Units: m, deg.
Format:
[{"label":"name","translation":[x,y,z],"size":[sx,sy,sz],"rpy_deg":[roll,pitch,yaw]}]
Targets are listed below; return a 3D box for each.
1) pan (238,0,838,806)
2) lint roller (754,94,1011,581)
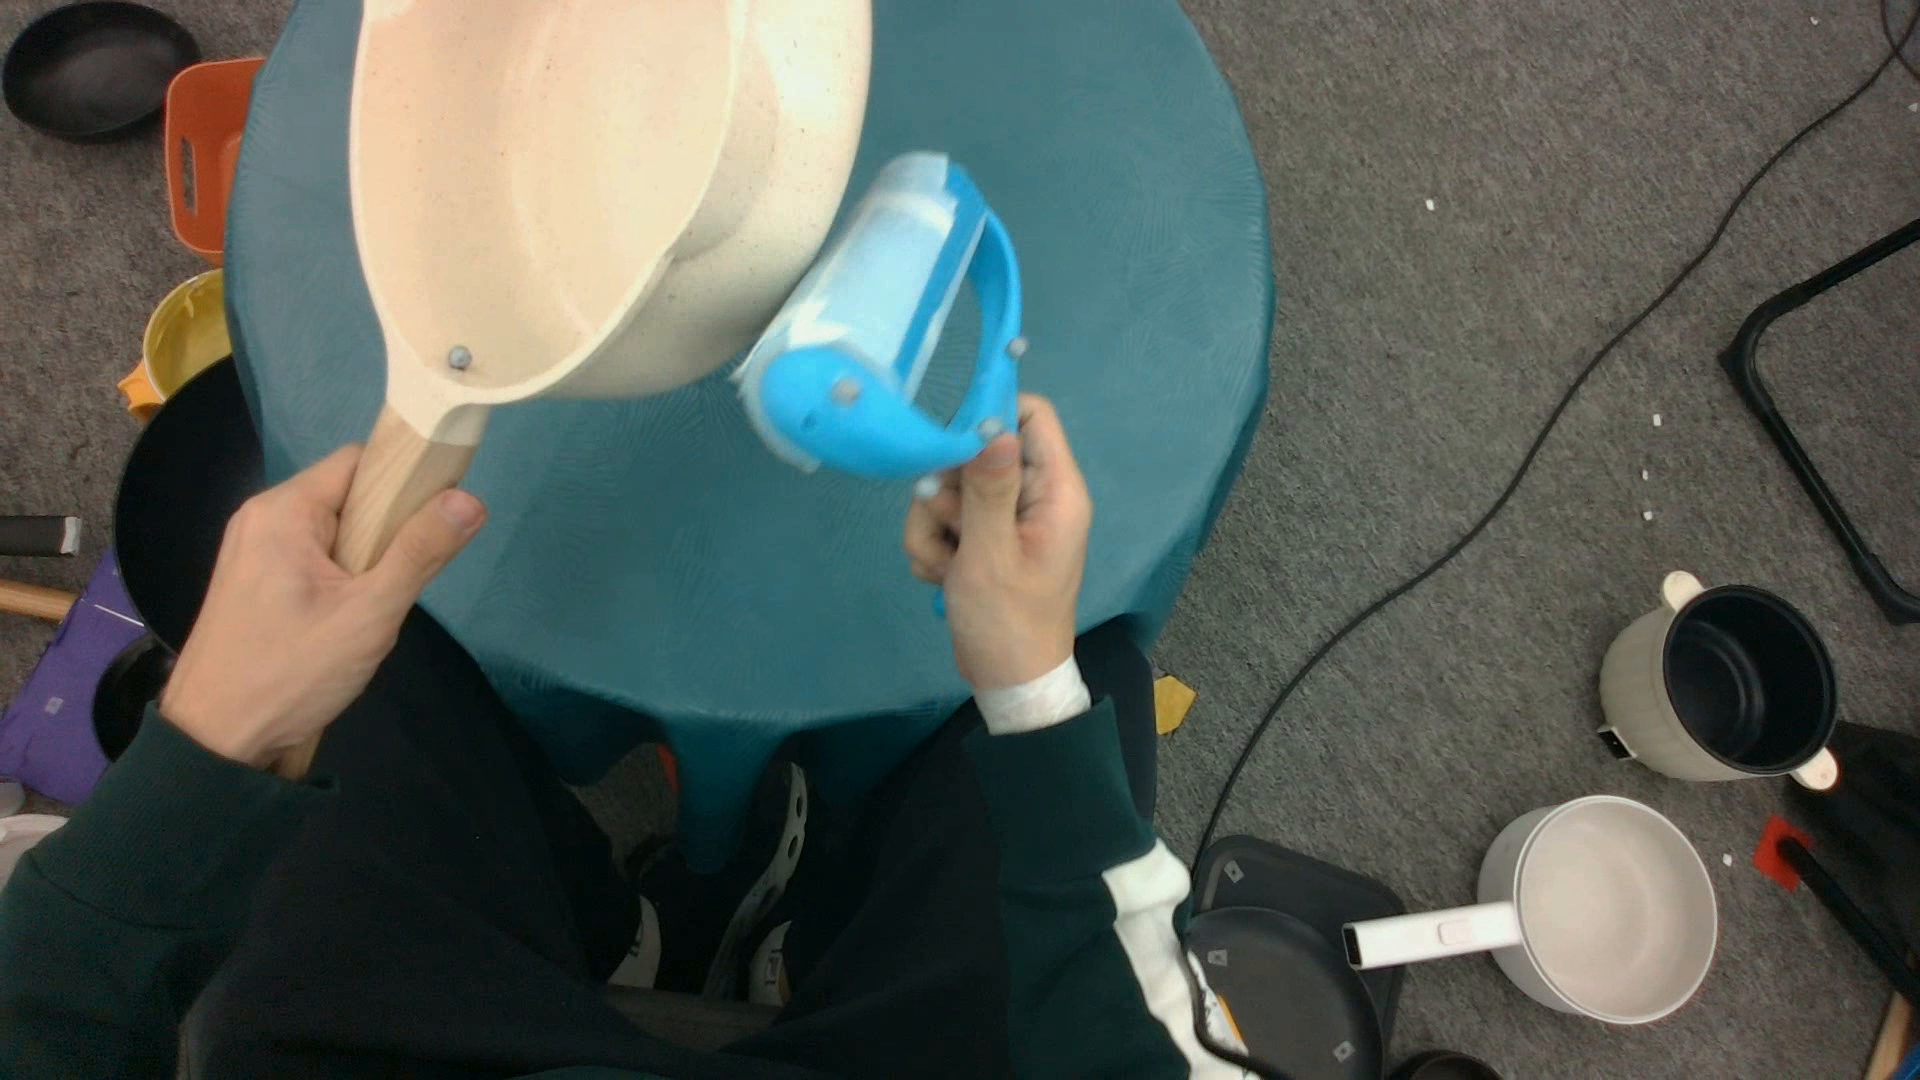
[{"label":"pan","translation":[-0.183,-0.092,0.538],"size":[0.263,0.102,0.433],"rpy_deg":[32,108,34]},{"label":"lint roller","translation":[-0.012,-0.066,0.541],"size":[0.068,0.179,0.230],"rpy_deg":[-11,31,12]}]
